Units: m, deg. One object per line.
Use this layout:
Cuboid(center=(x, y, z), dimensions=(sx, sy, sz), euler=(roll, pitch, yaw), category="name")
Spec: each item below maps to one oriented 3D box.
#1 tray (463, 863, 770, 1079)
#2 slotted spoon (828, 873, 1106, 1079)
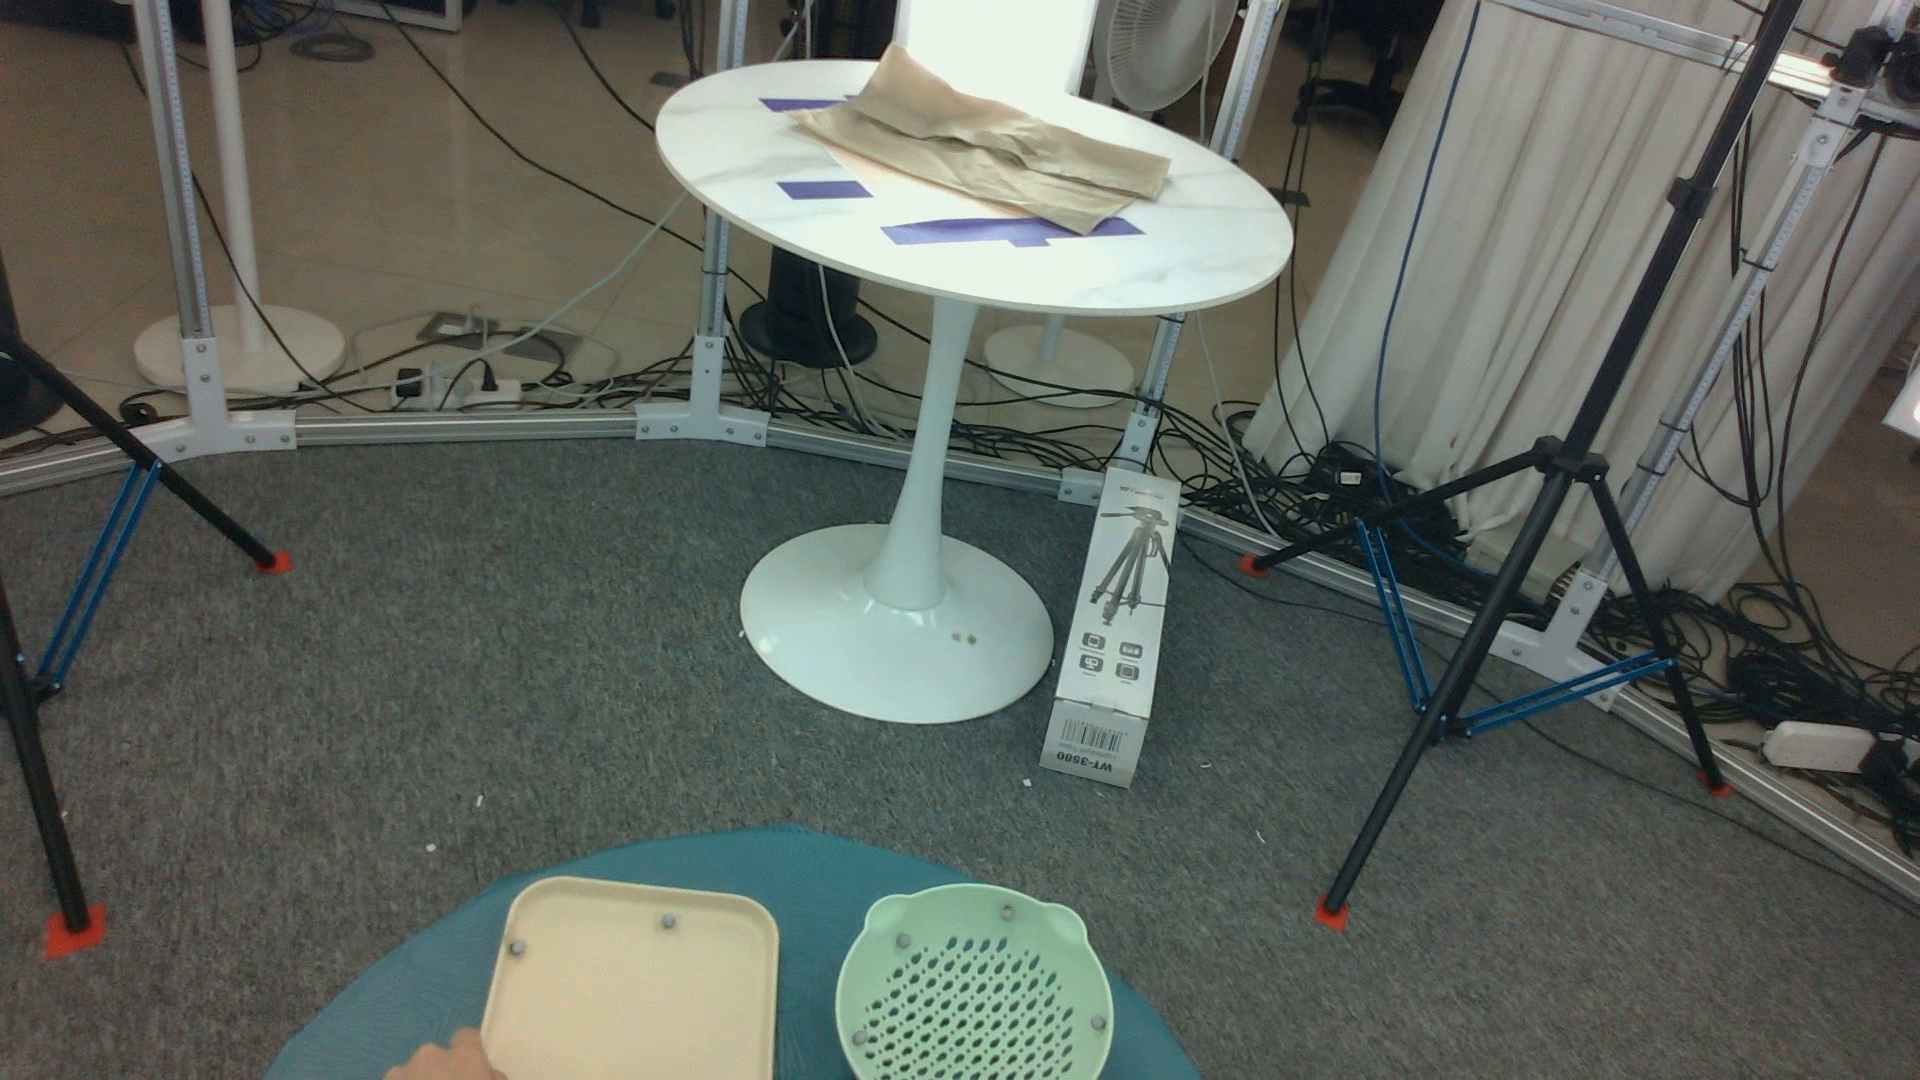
Cuboid(center=(-0.199, 0.294, 0.815), dimensions=(0.171, 0.017, 0.240), euler=(9, 34, -13), category="tray")
Cuboid(center=(0.002, 0.344, 0.768), dimensions=(0.169, 0.075, 0.360), euler=(4, 32, -2), category="slotted spoon")
